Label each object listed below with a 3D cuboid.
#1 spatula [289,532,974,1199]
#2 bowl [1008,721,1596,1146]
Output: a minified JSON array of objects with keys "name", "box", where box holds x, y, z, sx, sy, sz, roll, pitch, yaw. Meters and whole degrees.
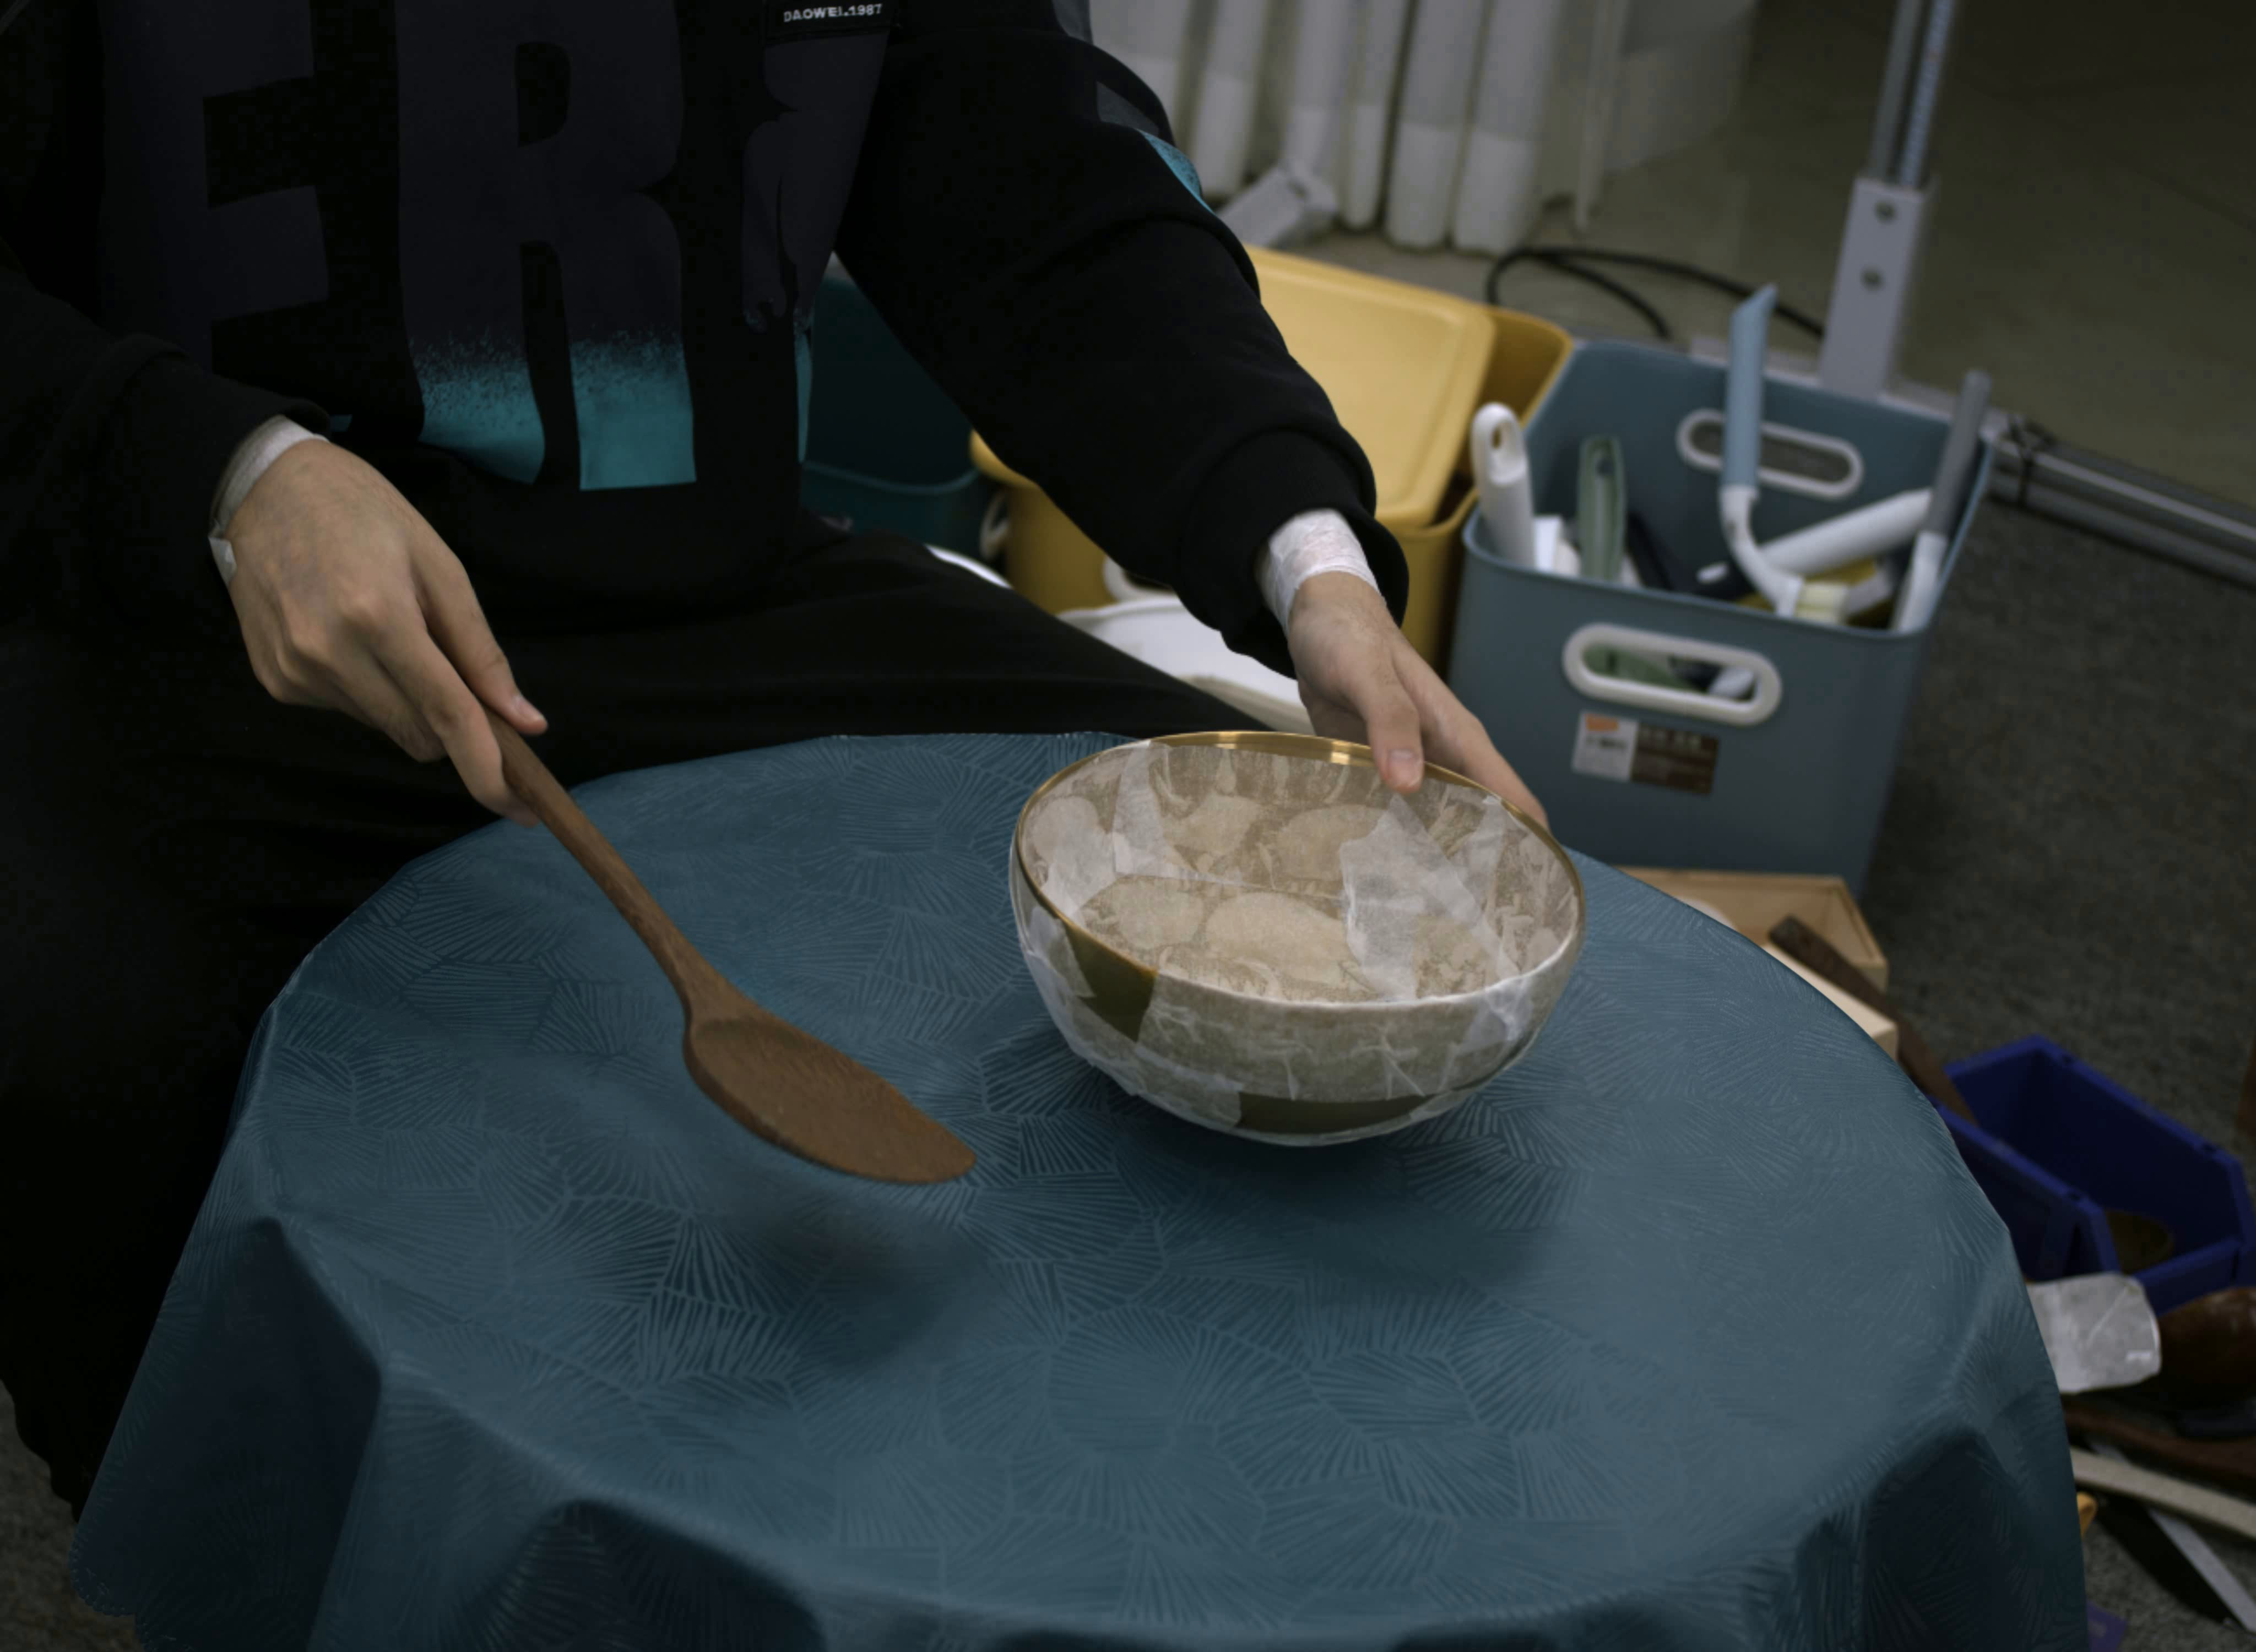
[{"name":"spatula","box":[-0.185,0.006,1.810,0.095,0.016,0.389,8,30,-49]},{"name":"bowl","box":[0.057,0.050,1.856,0.214,0.094,0.216,4,27,-2]}]
